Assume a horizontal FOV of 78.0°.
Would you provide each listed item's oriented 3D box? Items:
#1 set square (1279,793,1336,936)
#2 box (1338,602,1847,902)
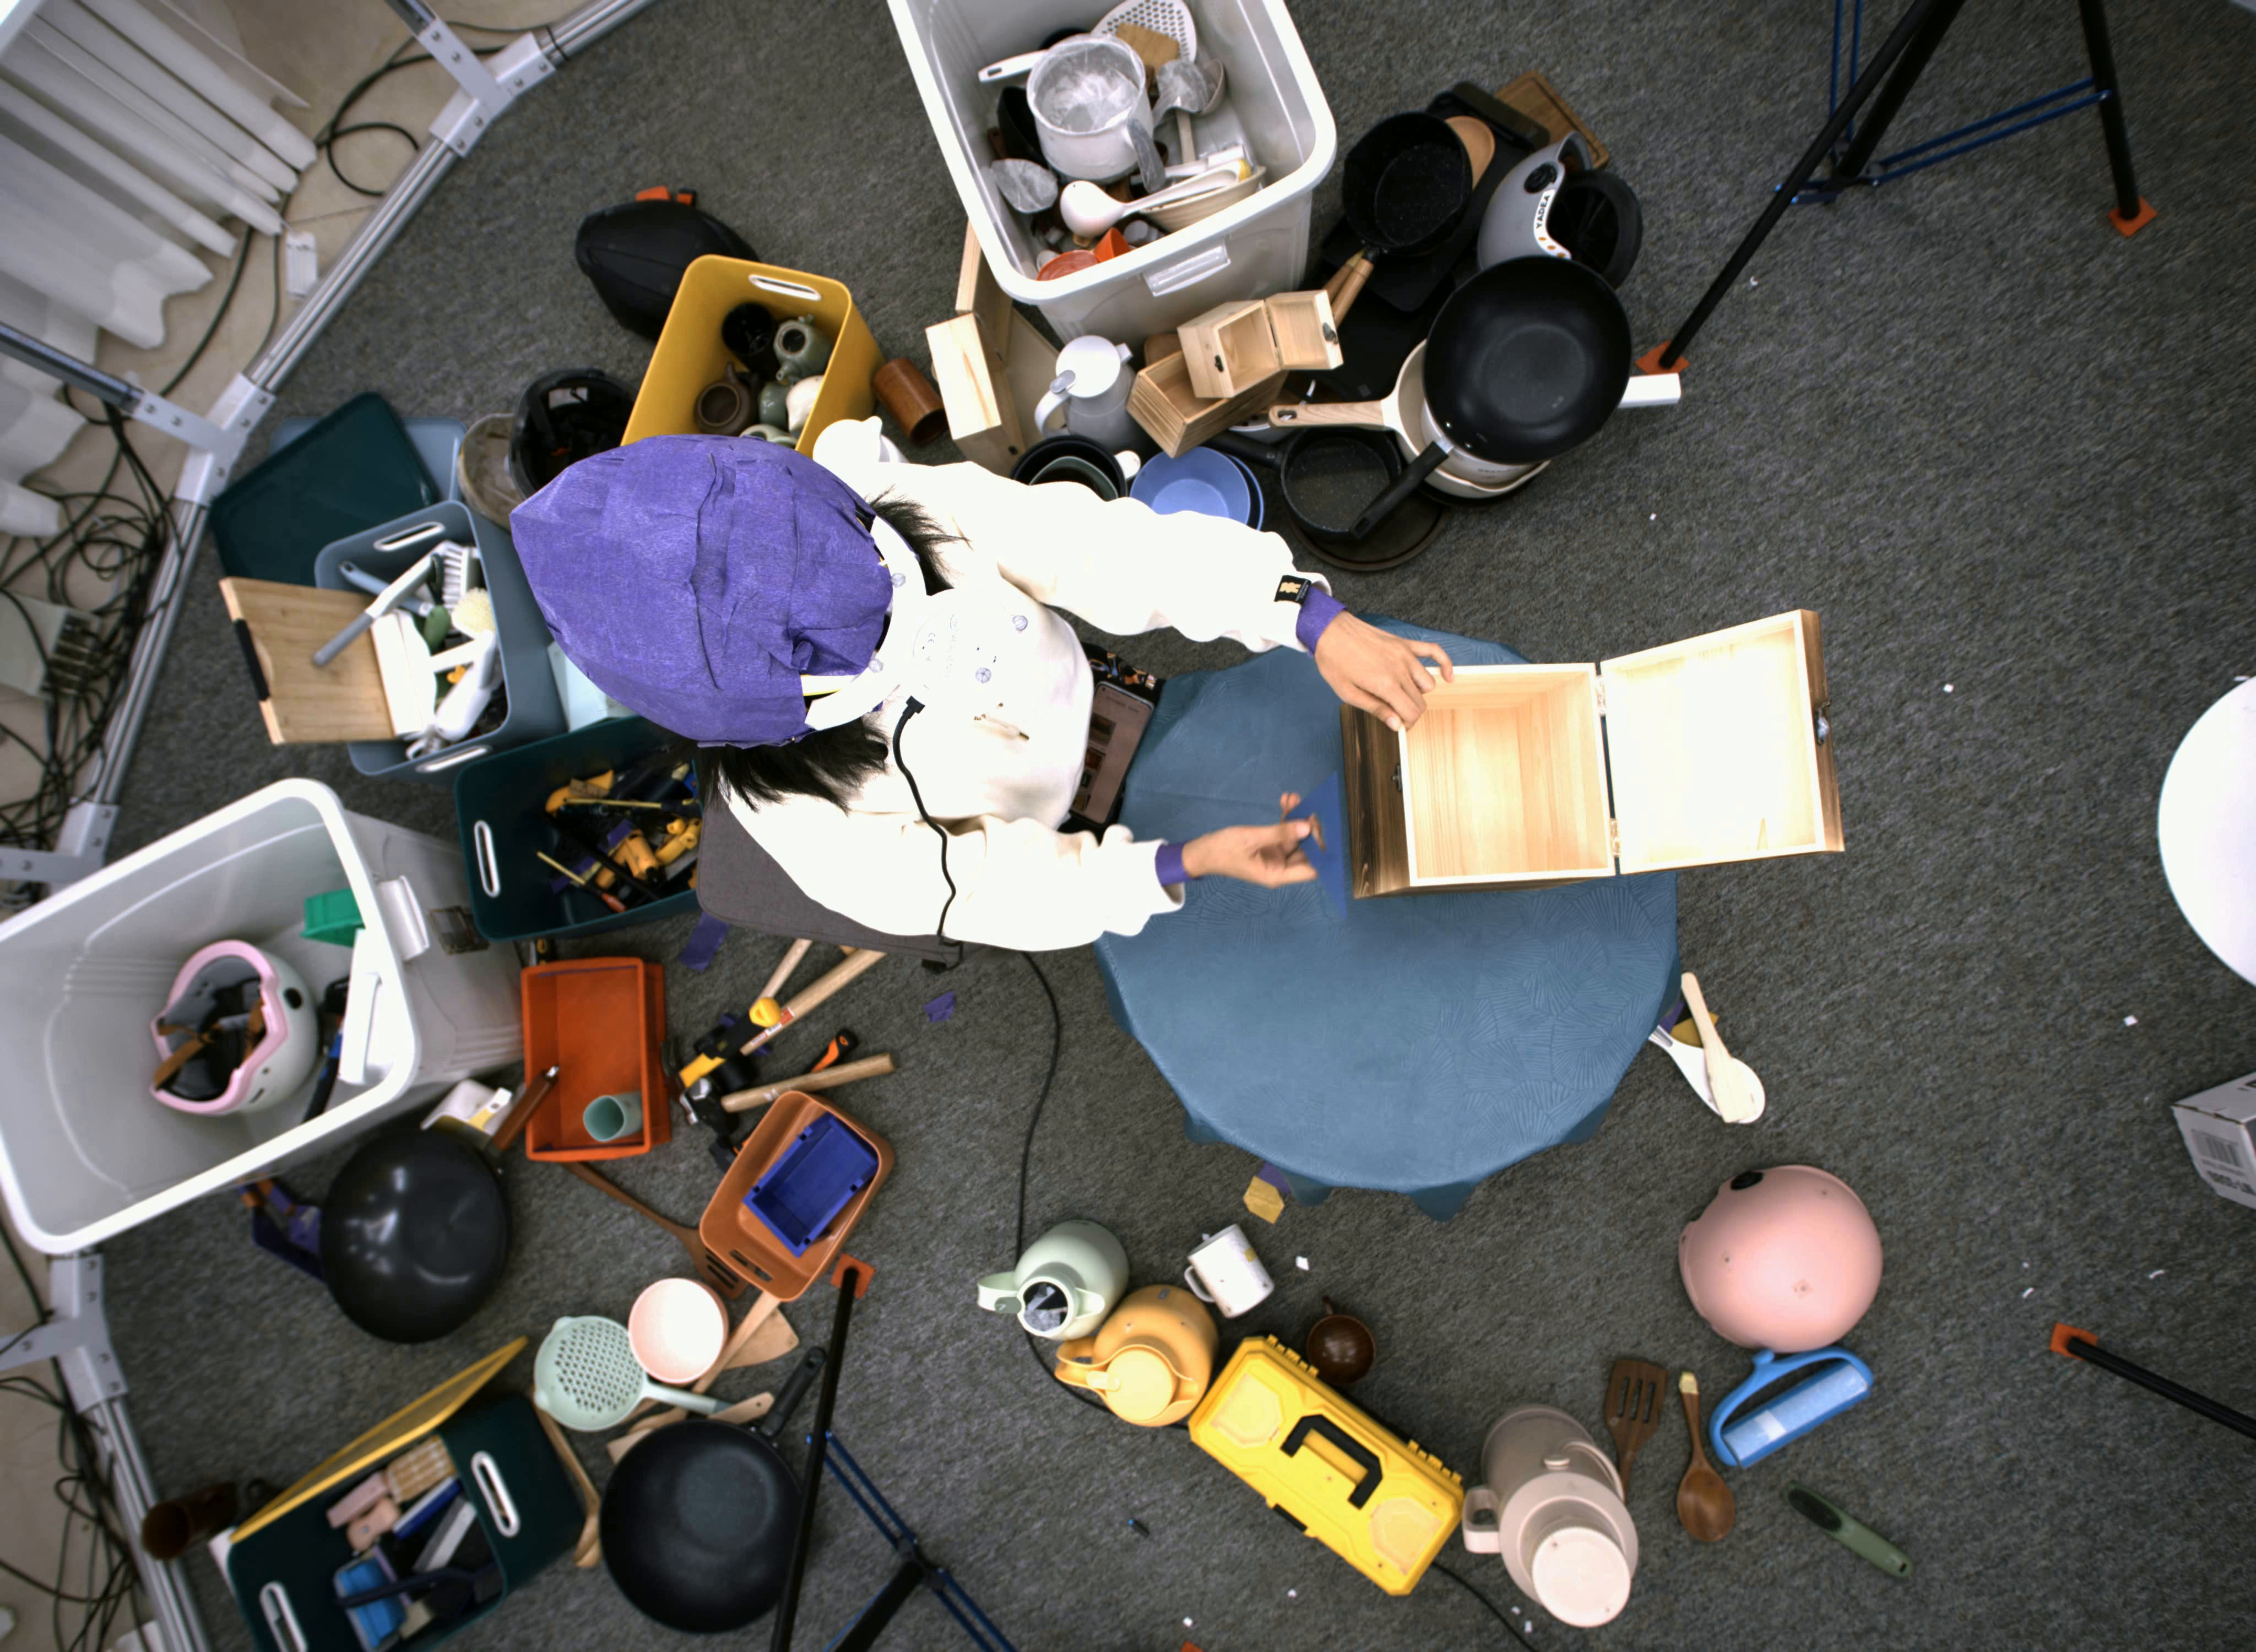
[{"bbox_3d":[0.164,0.036,1.277,0.062,0.006,0.131,-4,81,38],"label":"set square"},{"bbox_3d":[0.399,-0.058,1.257,0.322,0.378,0.207,-3,83,-9],"label":"box"}]
